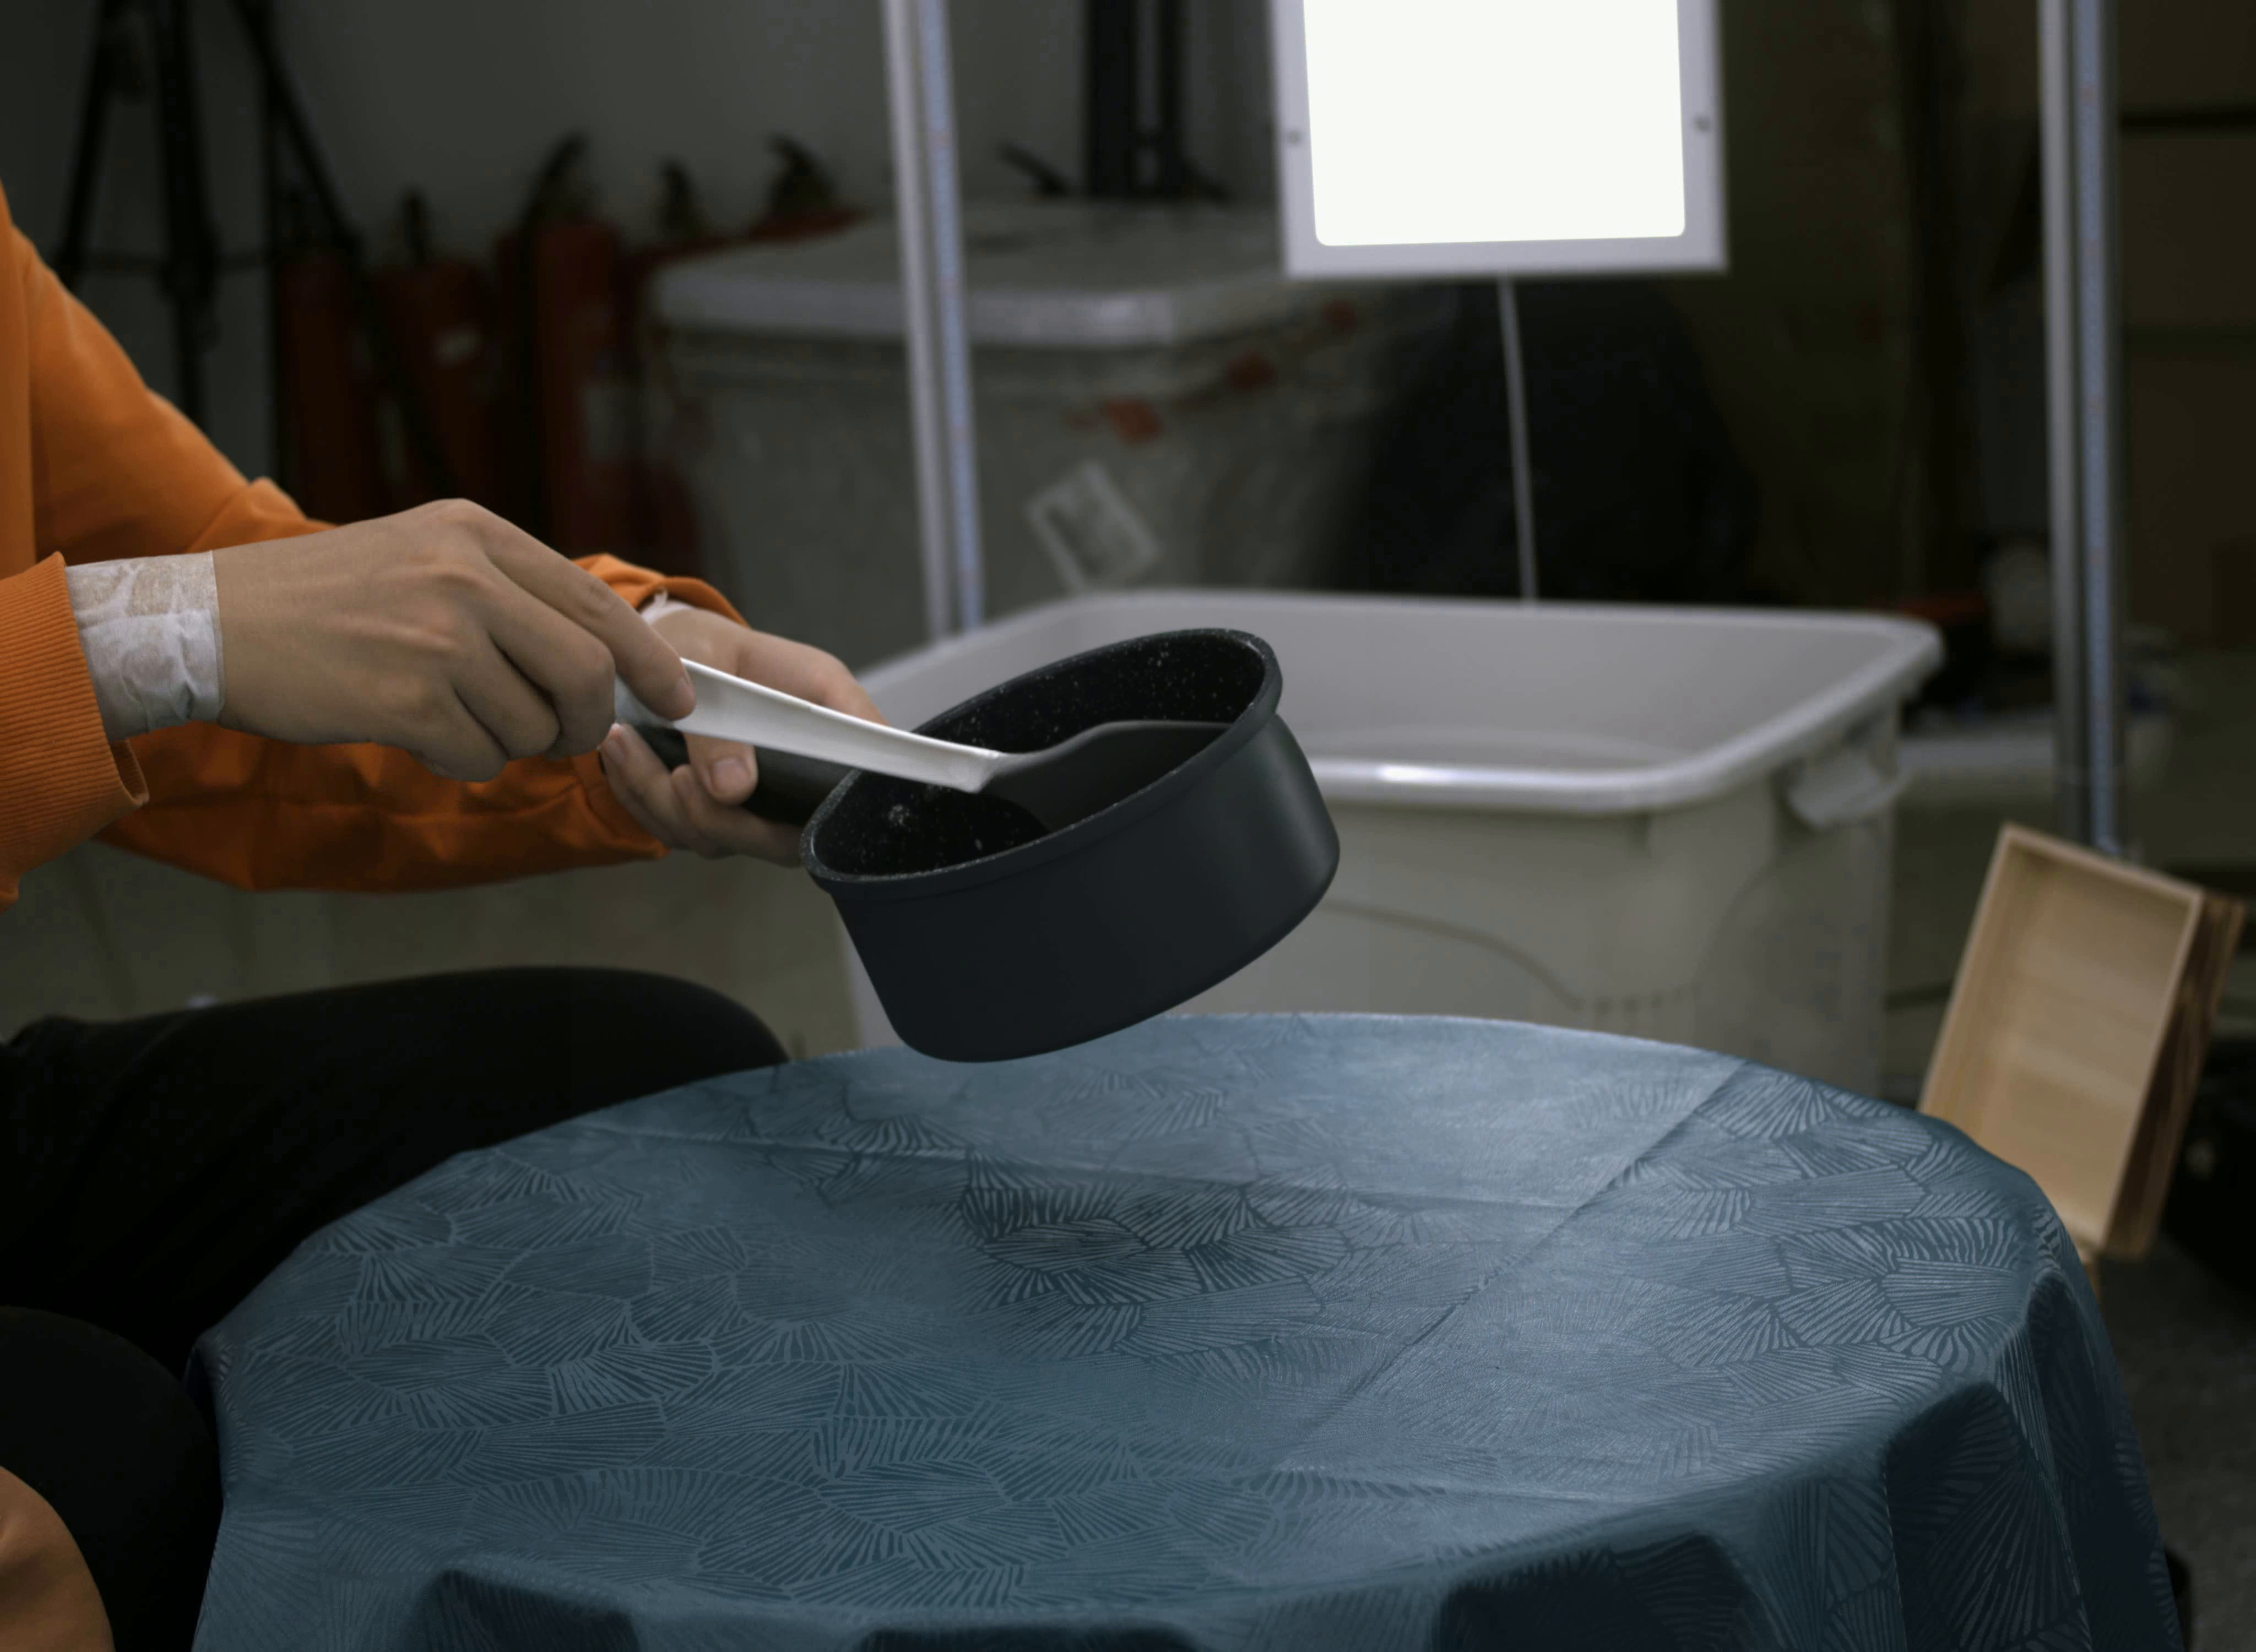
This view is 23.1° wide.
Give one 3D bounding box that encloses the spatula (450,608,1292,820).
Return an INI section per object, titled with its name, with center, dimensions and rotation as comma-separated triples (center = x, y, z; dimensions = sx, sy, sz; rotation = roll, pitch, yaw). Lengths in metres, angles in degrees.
[spatula]
center = -0.081, -0.032, 1.814
dimensions = 0.283, 0.059, 0.032
rotation = 10, 32, -18

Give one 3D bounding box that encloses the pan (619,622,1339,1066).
[pan]
center = -0.066, 0.001, 1.895
dimensions = 0.168, 0.086, 0.336
rotation = -35, 23, -29
